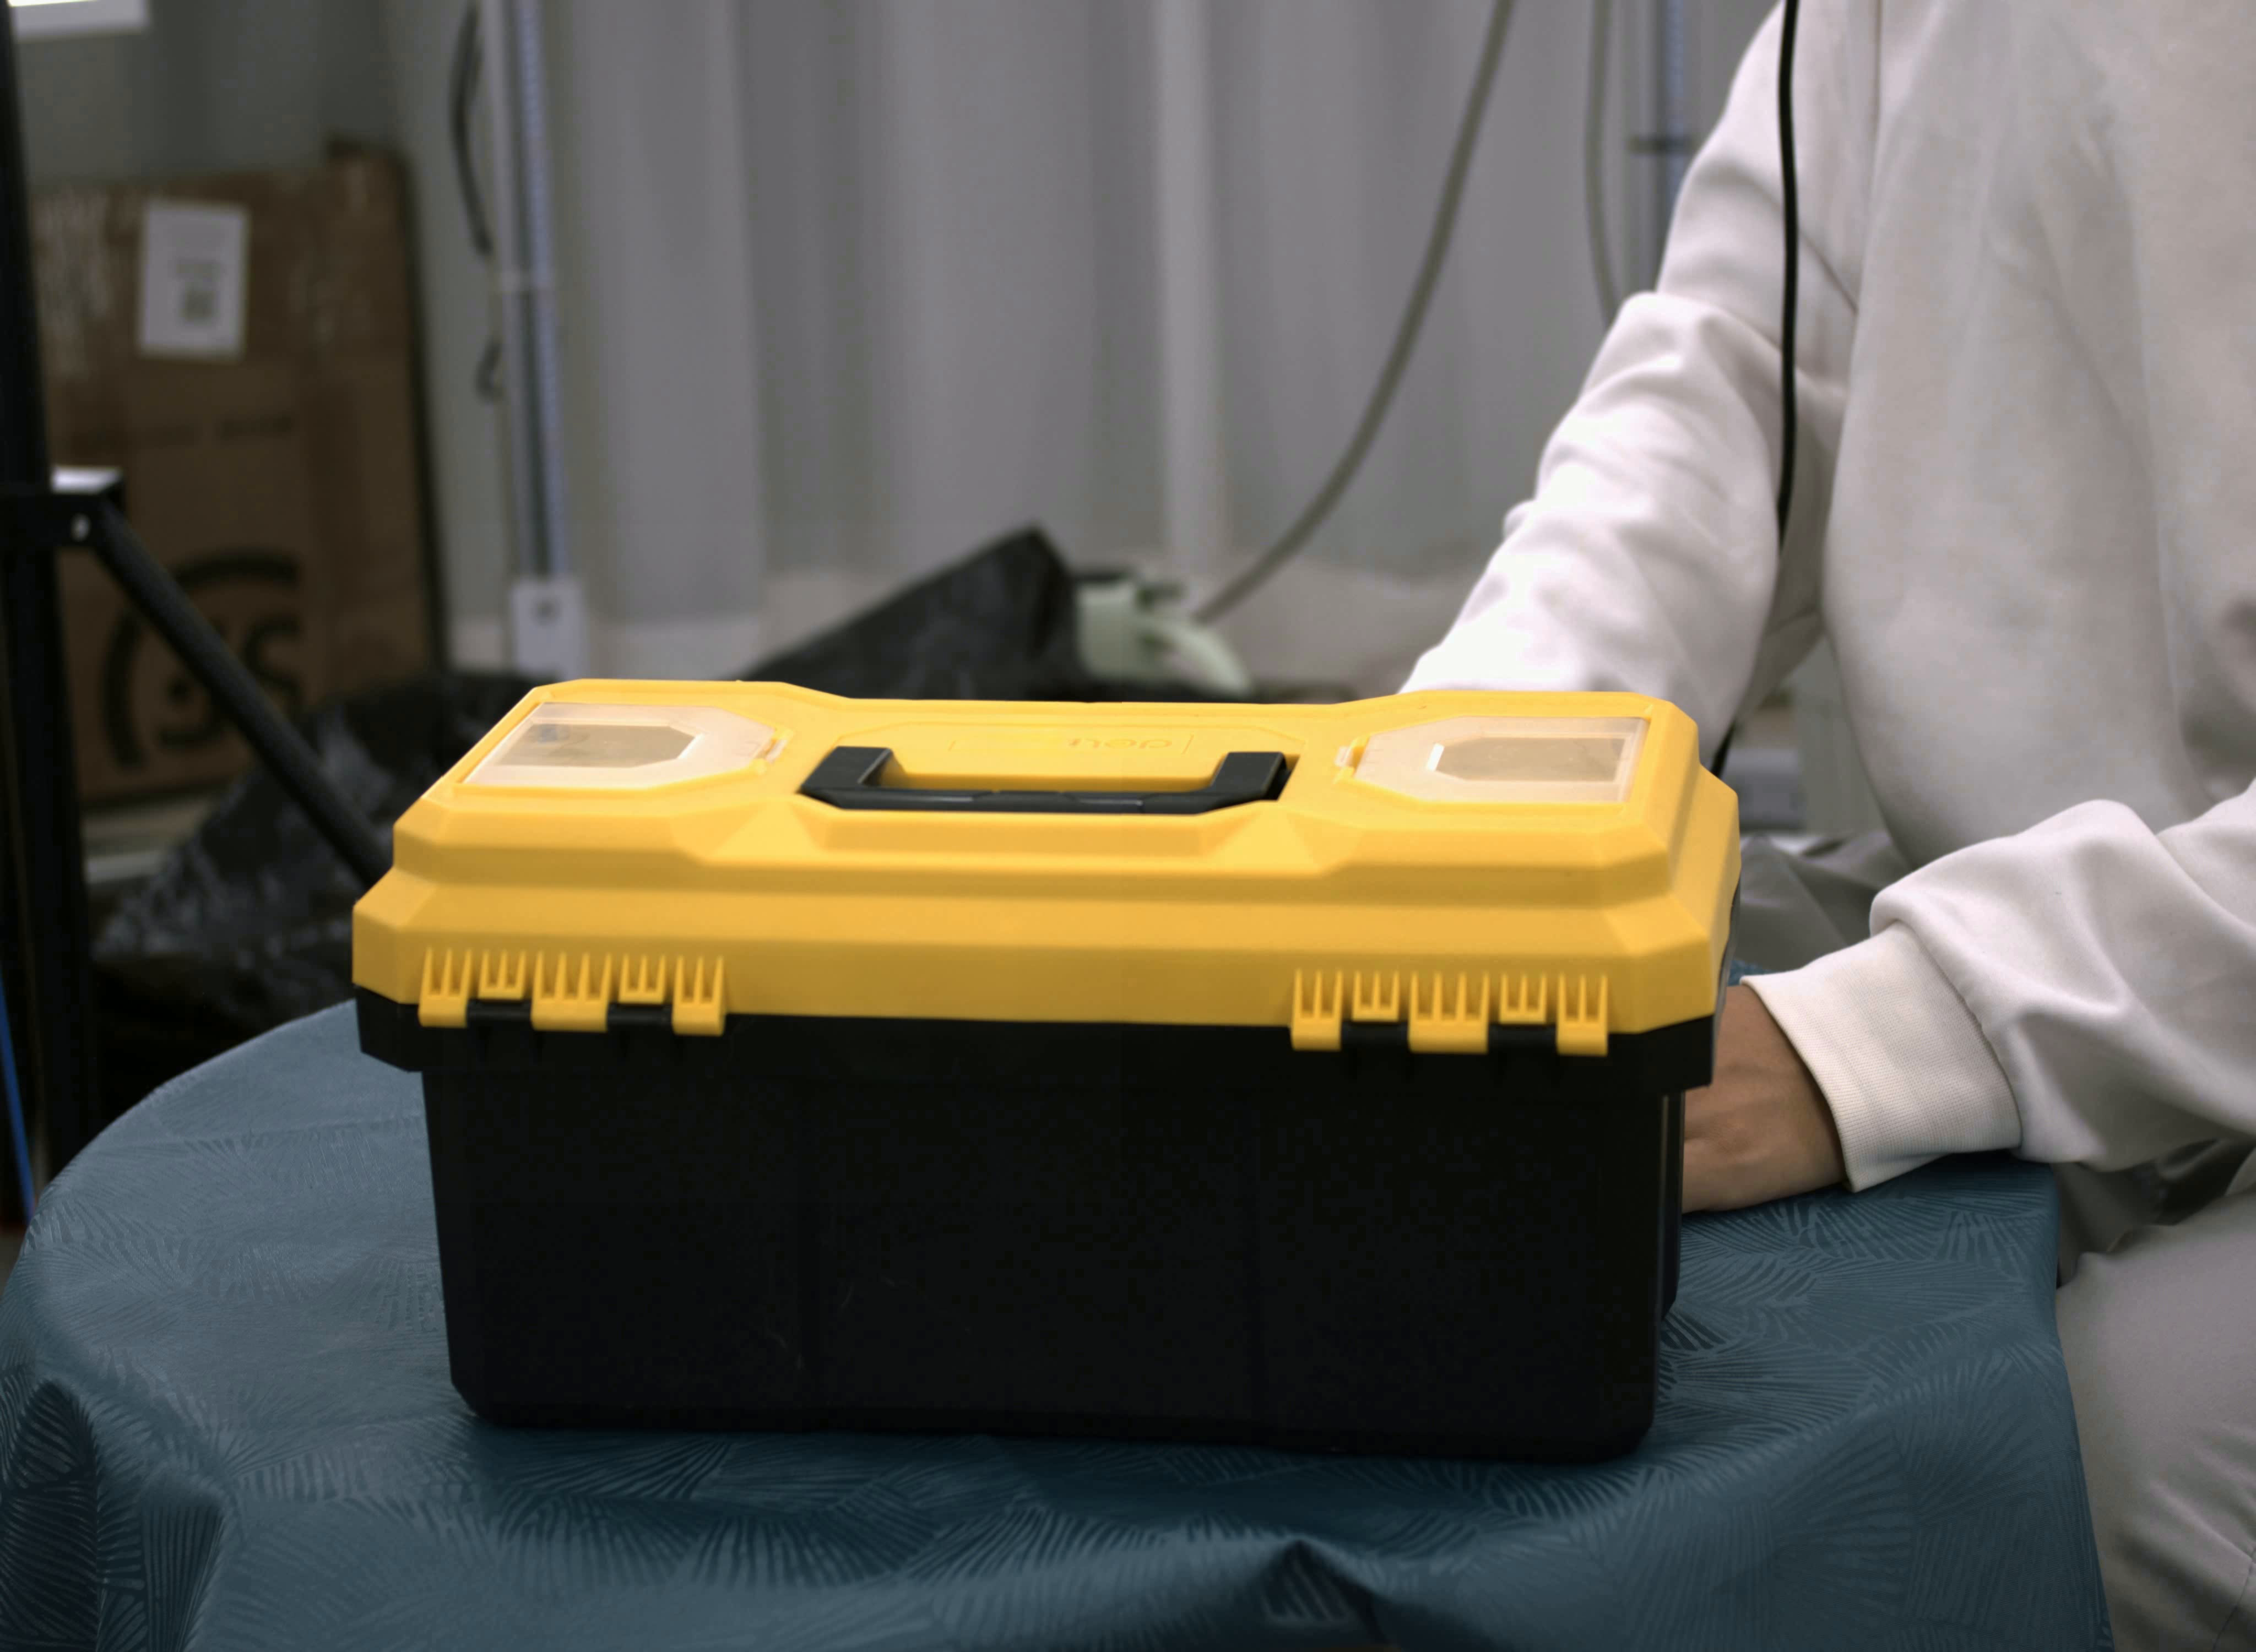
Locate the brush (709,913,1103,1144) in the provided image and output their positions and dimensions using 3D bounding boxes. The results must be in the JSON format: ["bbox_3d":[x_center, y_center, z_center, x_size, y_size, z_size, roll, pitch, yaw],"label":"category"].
[{"bbox_3d":[-0.061,0.061,1.709,0.069,0.056,0.263,23,7,14],"label":"brush"}]

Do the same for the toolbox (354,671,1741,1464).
[{"bbox_3d":[-0.015,0.061,1.411,0.353,0.173,0.180,1,17,11],"label":"toolbox"}]
